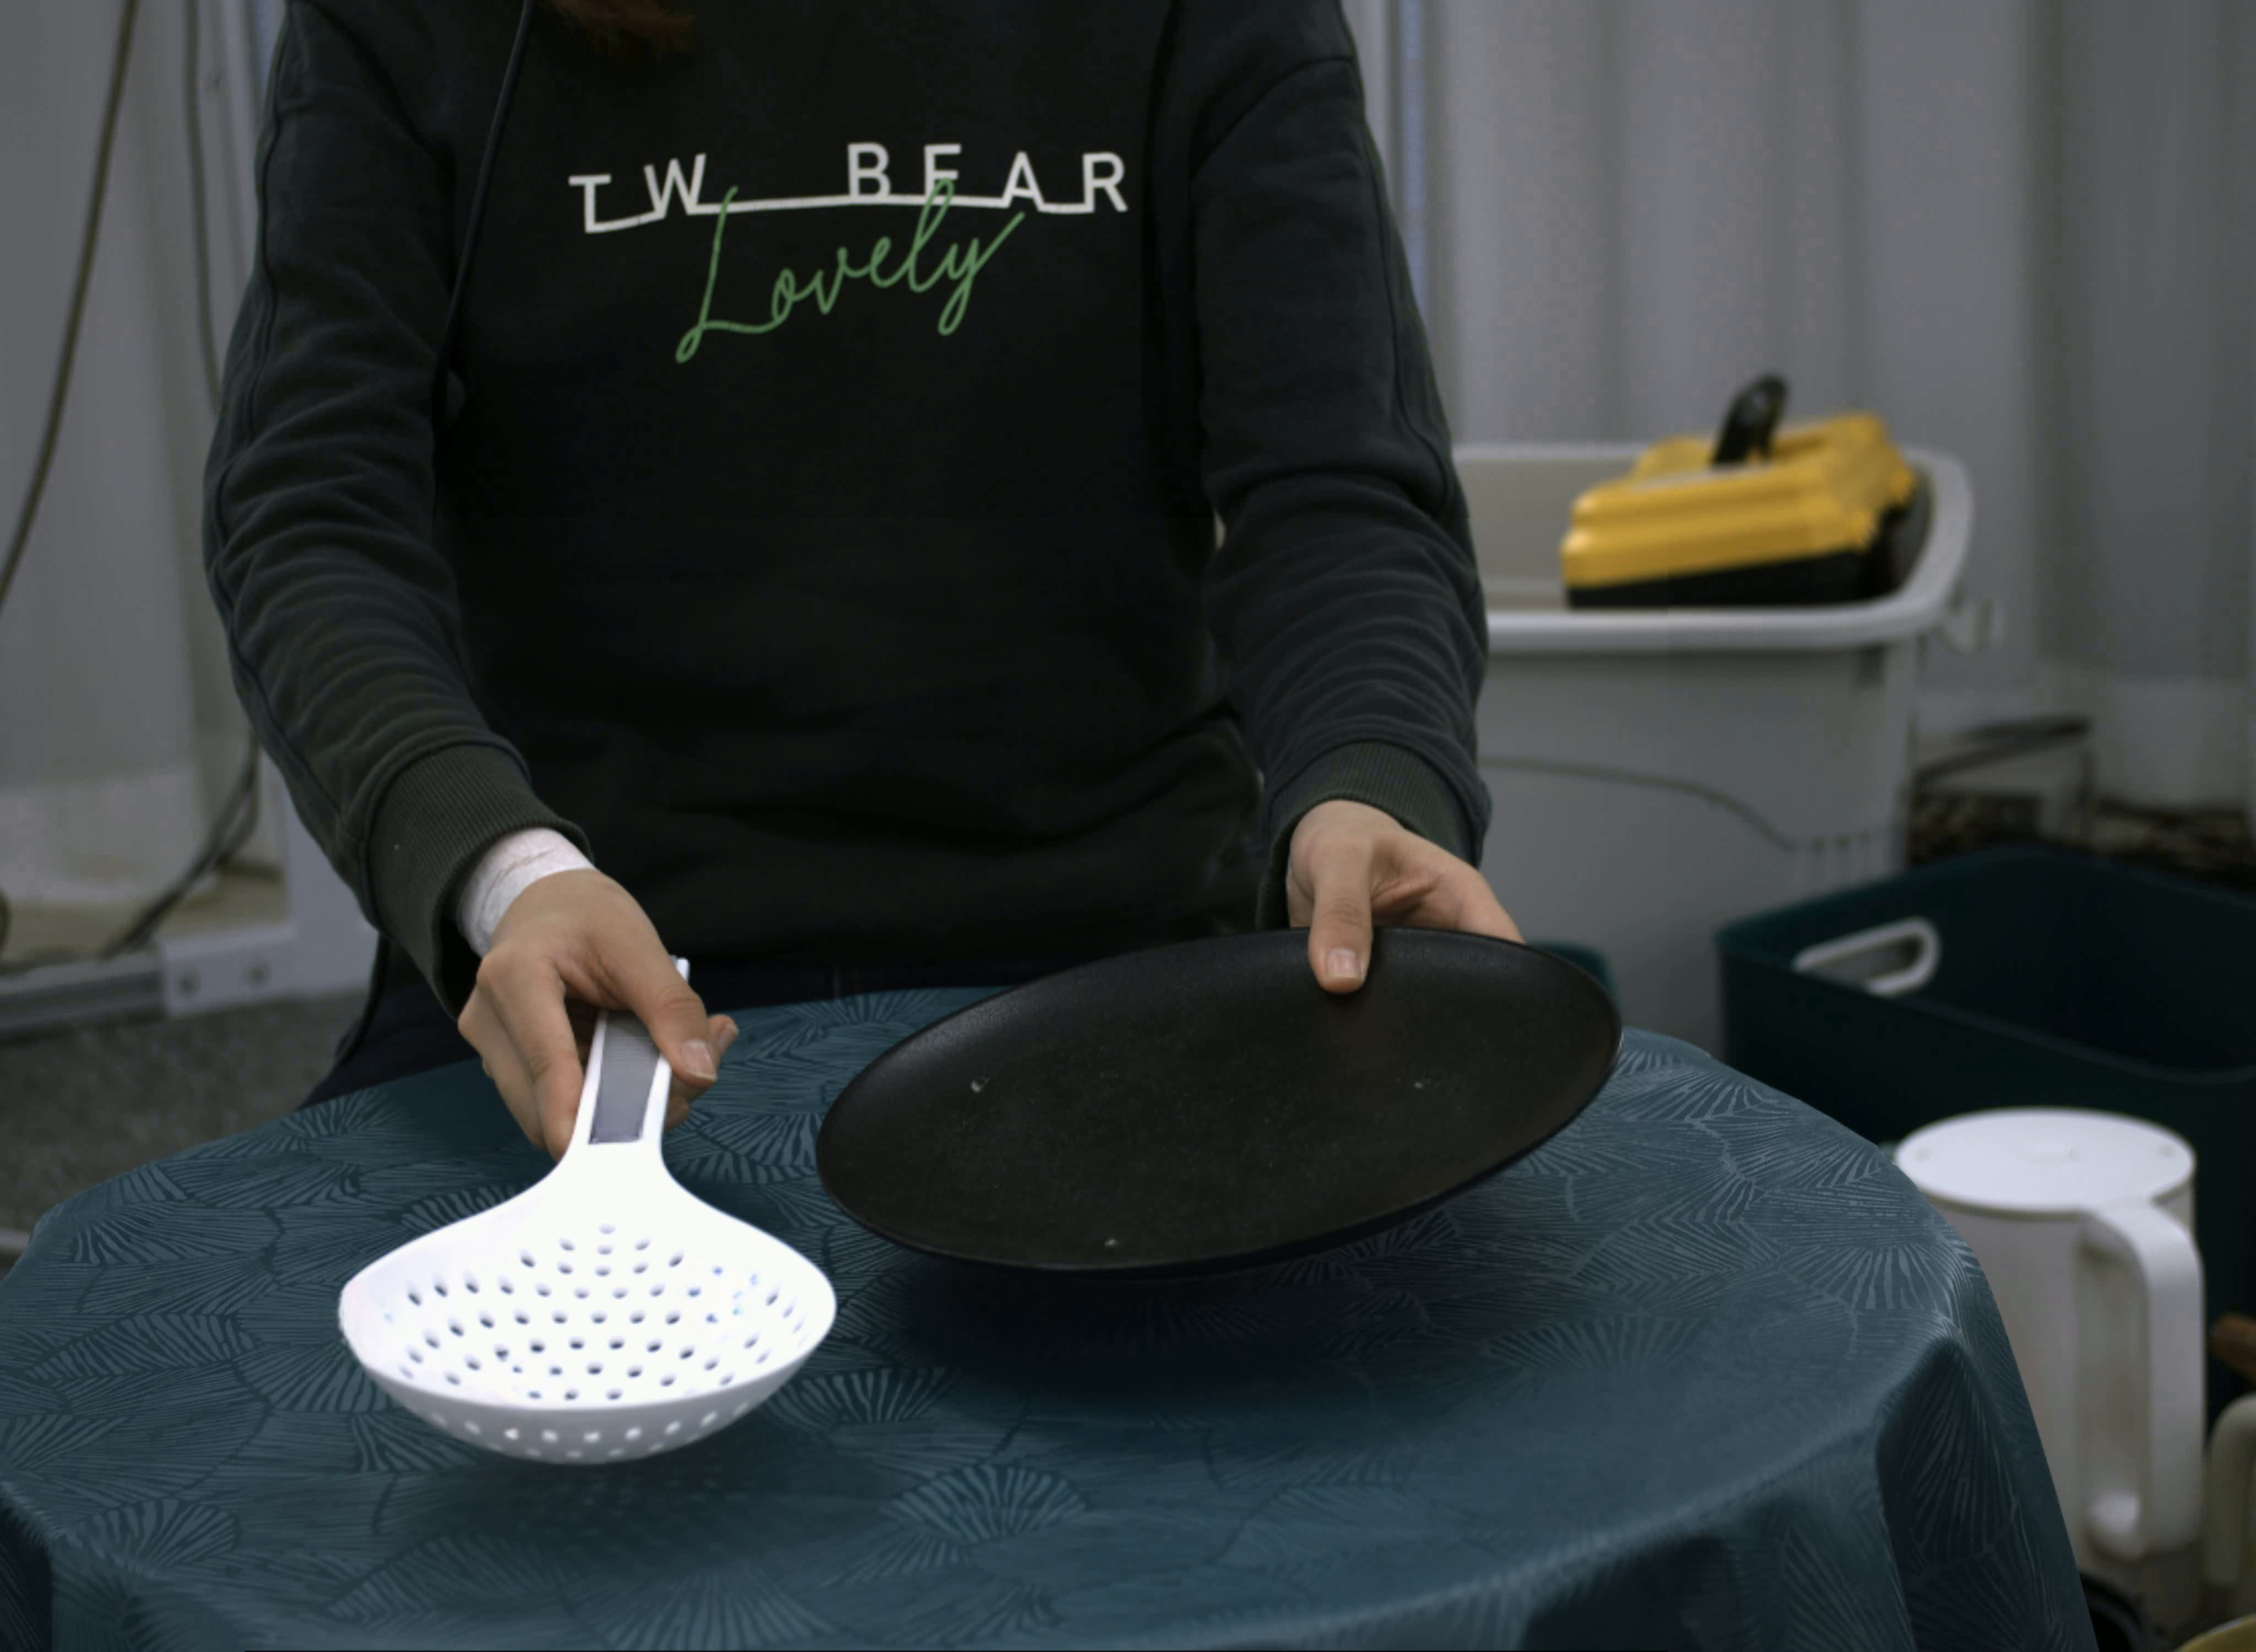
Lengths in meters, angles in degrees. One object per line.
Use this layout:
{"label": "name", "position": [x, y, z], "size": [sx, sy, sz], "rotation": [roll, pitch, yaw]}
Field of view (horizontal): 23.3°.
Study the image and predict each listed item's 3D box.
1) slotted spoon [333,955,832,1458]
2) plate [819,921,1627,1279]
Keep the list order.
{"label": "slotted spoon", "position": [-0.150, 0.102, 1.592], "size": [0.135, 0.045, 0.353], "rotation": [1, 23, -1]}
{"label": "plate", "position": [0.029, 0.085, 1.620], "size": [0.243, 0.023, 0.246], "rotation": [-10, 19, 3]}
